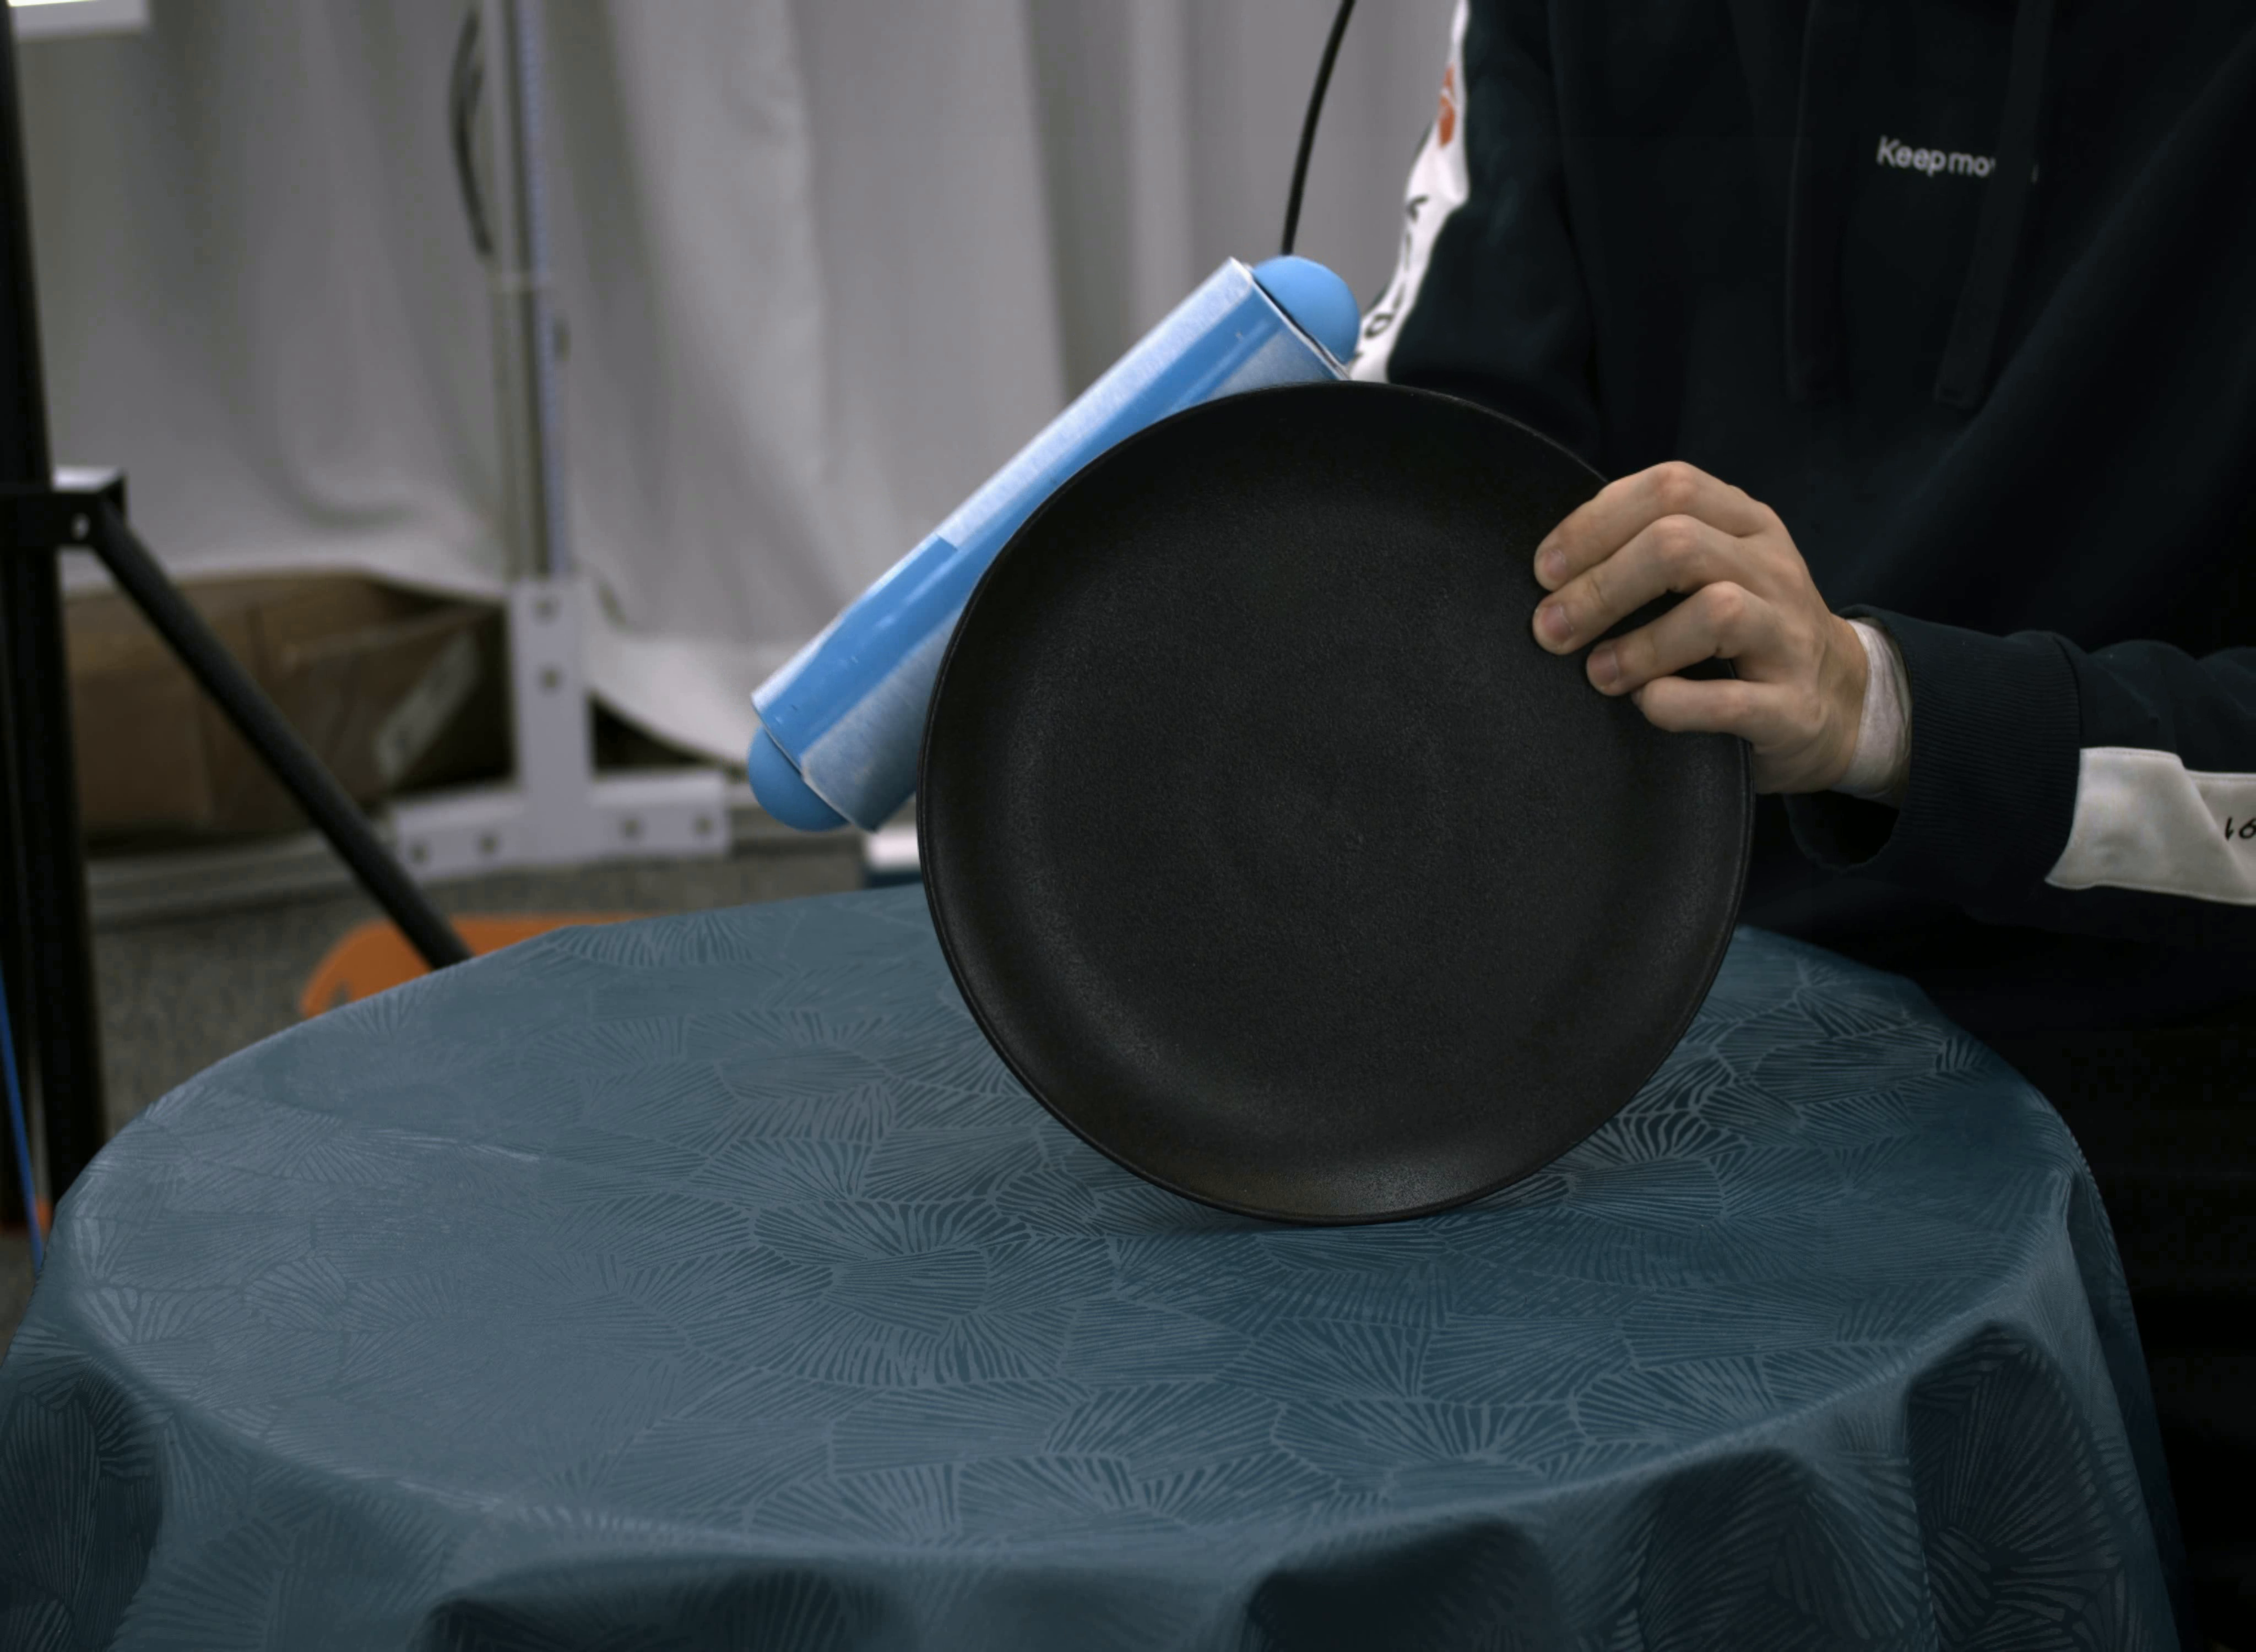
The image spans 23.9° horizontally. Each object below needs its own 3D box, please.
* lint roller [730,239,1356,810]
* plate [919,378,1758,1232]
[{"bbox_3d":[-0.003,-0.064,1.596,0.069,0.229,0.176,52,5,34],"label":"lint roller"},{"bbox_3d":[0.060,-0.005,1.525,0.242,0.245,0.023,-4,2,-4],"label":"plate"}]
